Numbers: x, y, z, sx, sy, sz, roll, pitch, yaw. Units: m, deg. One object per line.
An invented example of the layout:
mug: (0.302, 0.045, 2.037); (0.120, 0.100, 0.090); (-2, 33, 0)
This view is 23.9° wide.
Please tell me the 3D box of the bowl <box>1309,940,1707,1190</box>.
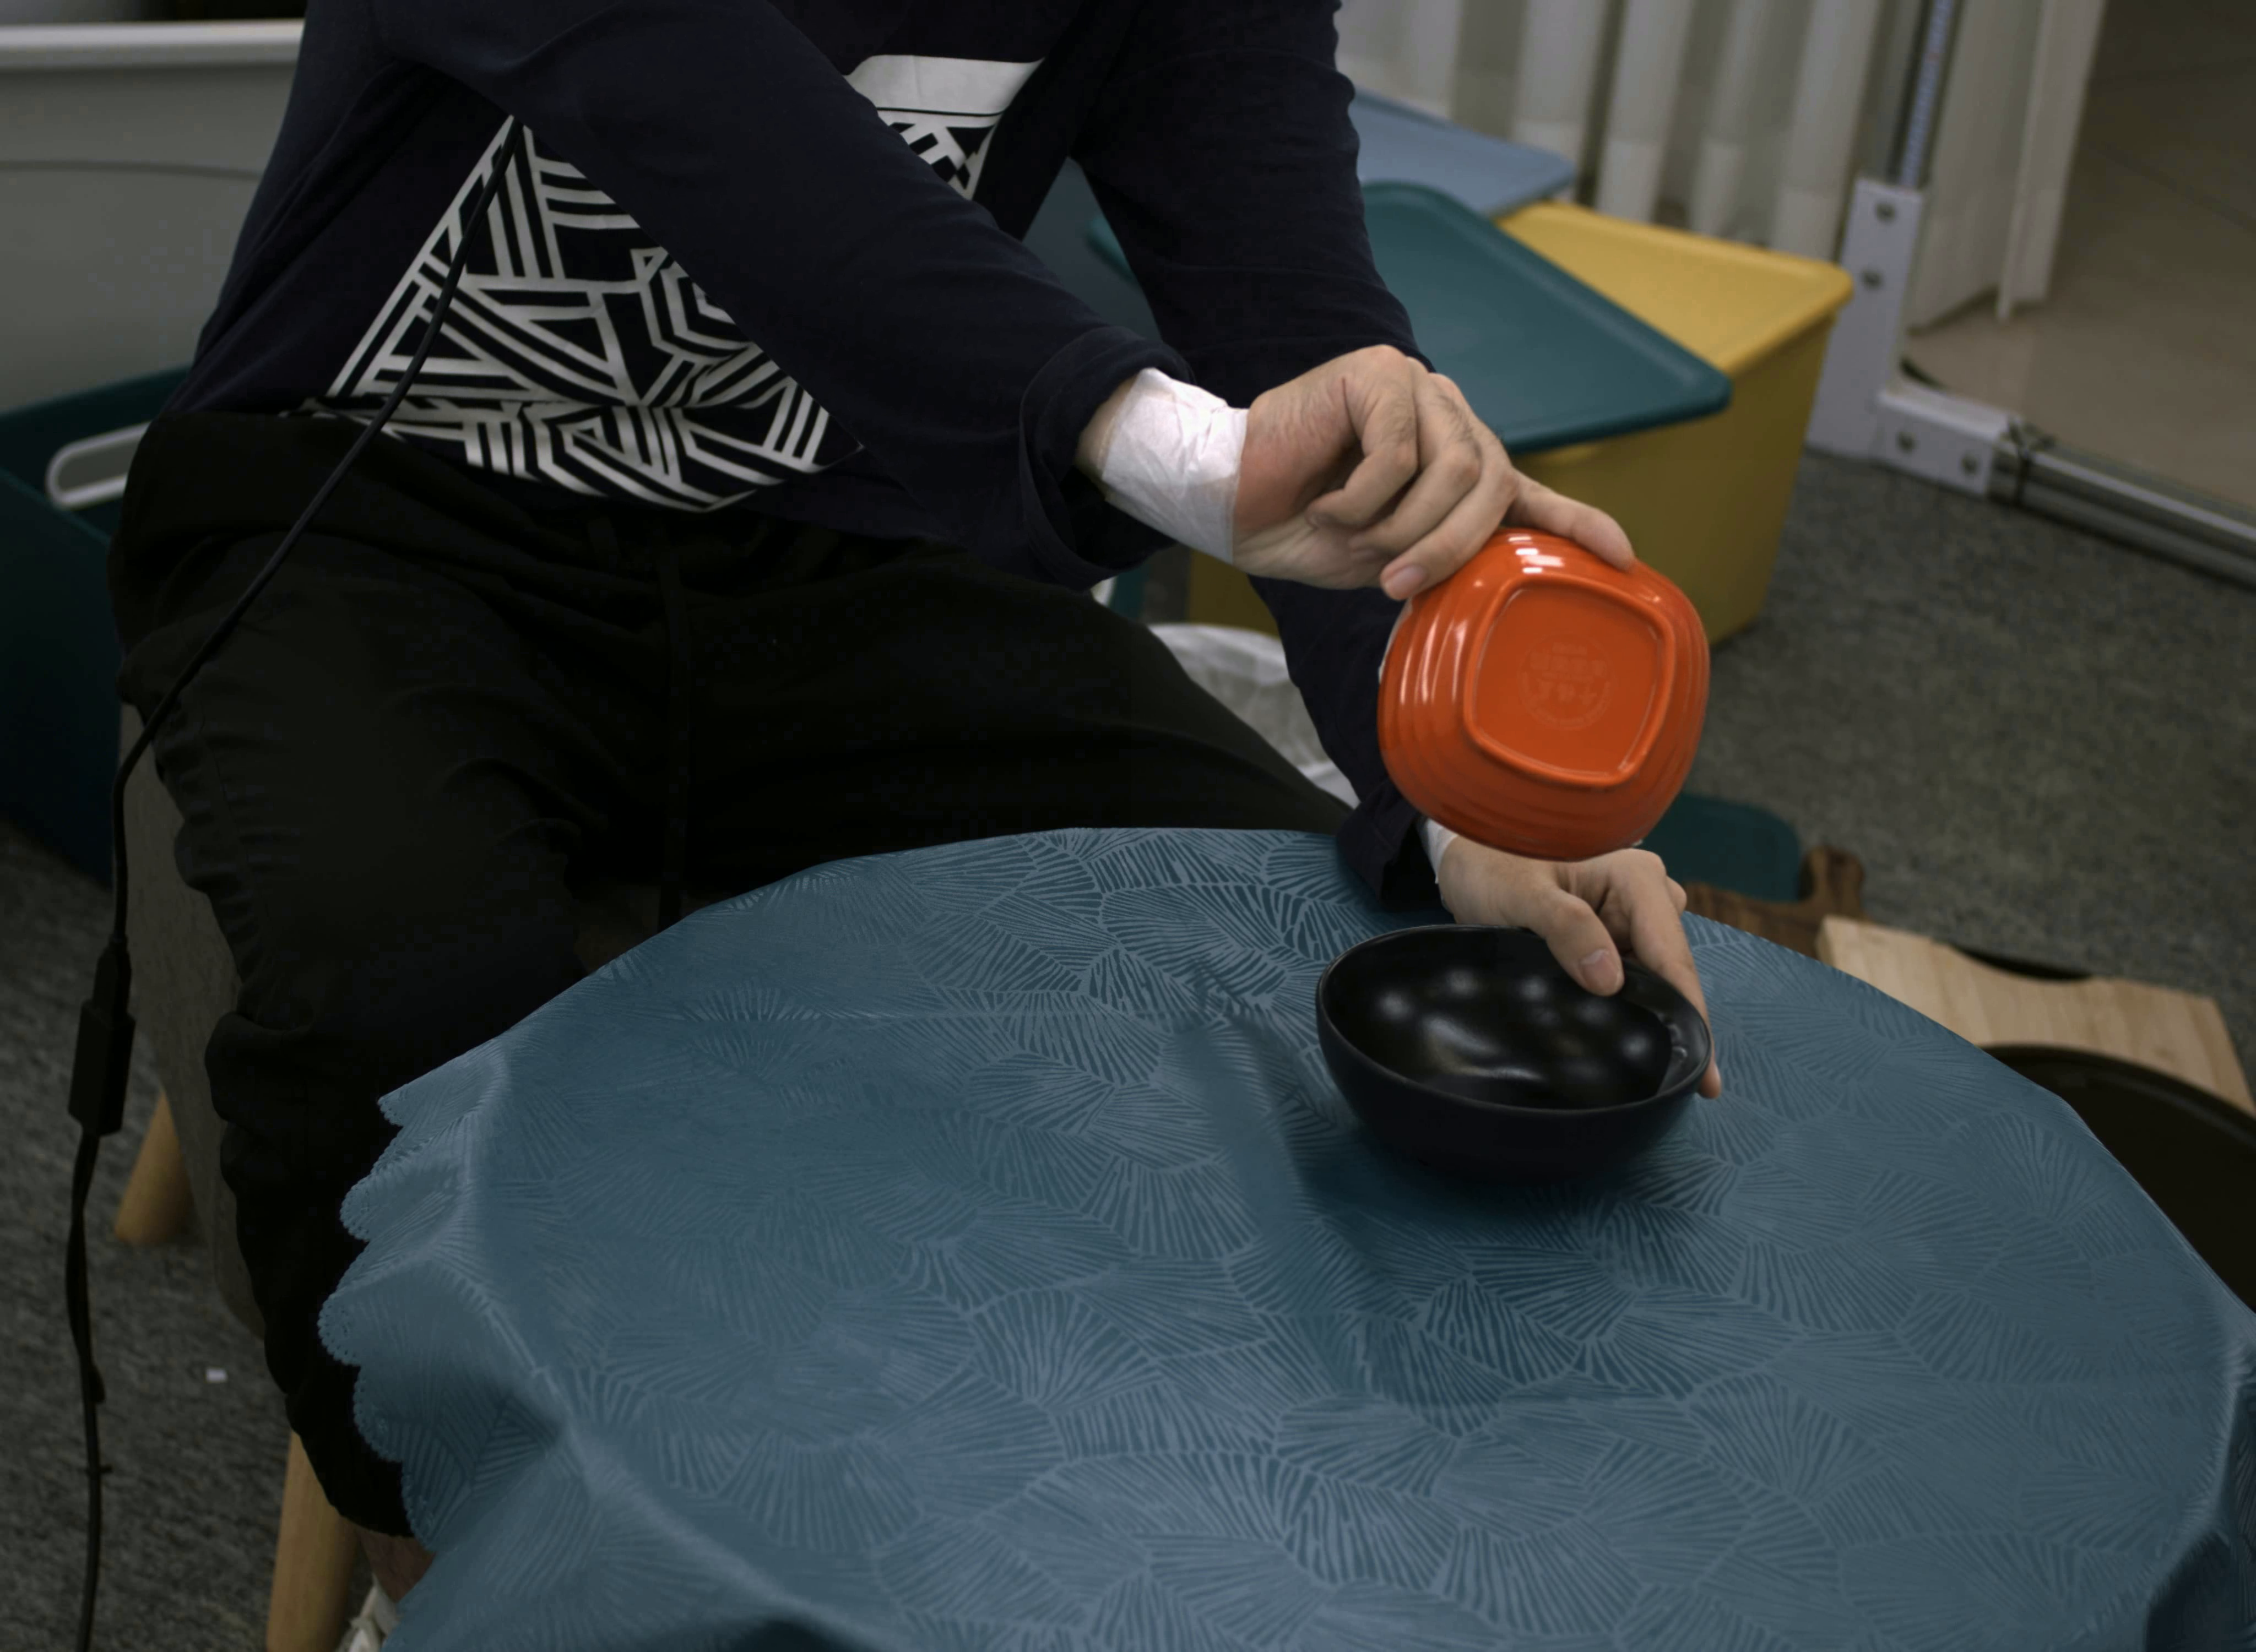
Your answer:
bowl: (0.130, 0.089, 1.853); (0.139, 0.049, 0.141); (4, 22, -2)

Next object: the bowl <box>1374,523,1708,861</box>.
bowl: (0.140, -0.048, 1.769); (0.118, 0.119, 0.051); (6, -6, -3)
